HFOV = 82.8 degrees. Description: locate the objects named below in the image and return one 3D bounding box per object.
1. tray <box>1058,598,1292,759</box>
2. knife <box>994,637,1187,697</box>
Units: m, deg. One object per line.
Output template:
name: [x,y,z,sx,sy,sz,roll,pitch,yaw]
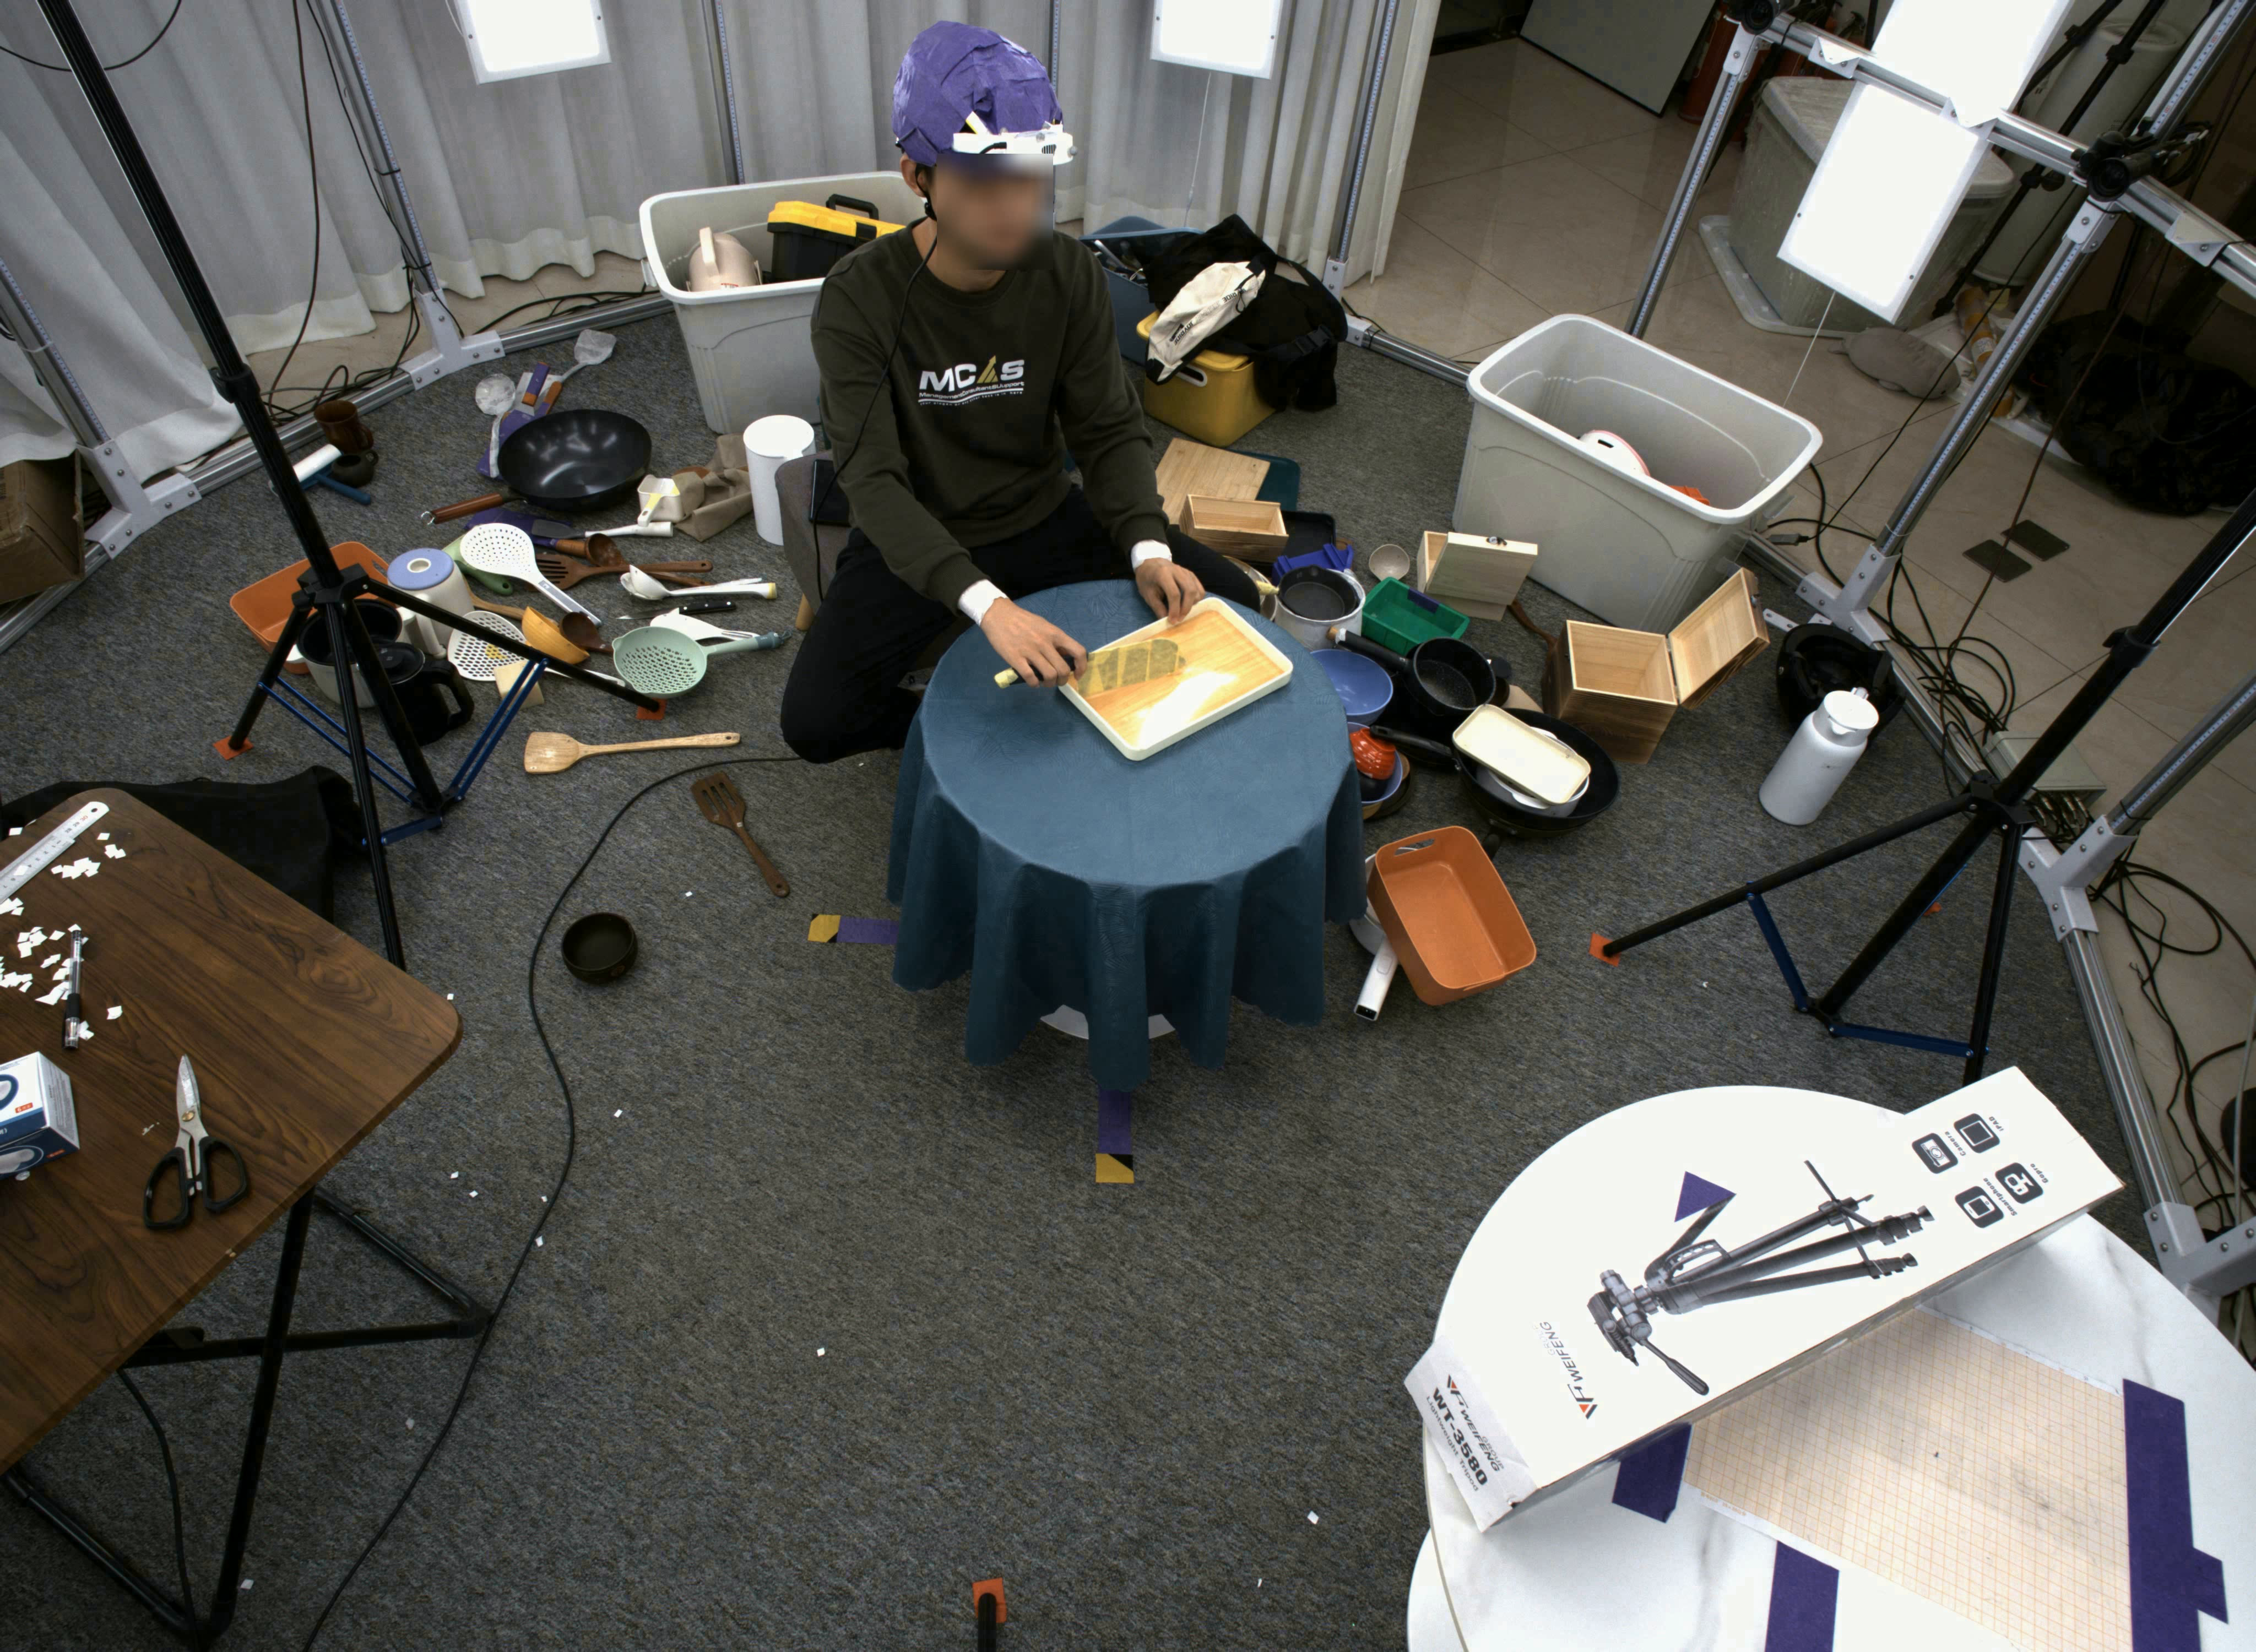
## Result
tray: [0.068,-0.217,1.841,0.302,0.027,0.195,-28,56,-25]
knife: [-0.048,-0.216,1.787,0.289,0.079,0.028,-11,42,-20]
